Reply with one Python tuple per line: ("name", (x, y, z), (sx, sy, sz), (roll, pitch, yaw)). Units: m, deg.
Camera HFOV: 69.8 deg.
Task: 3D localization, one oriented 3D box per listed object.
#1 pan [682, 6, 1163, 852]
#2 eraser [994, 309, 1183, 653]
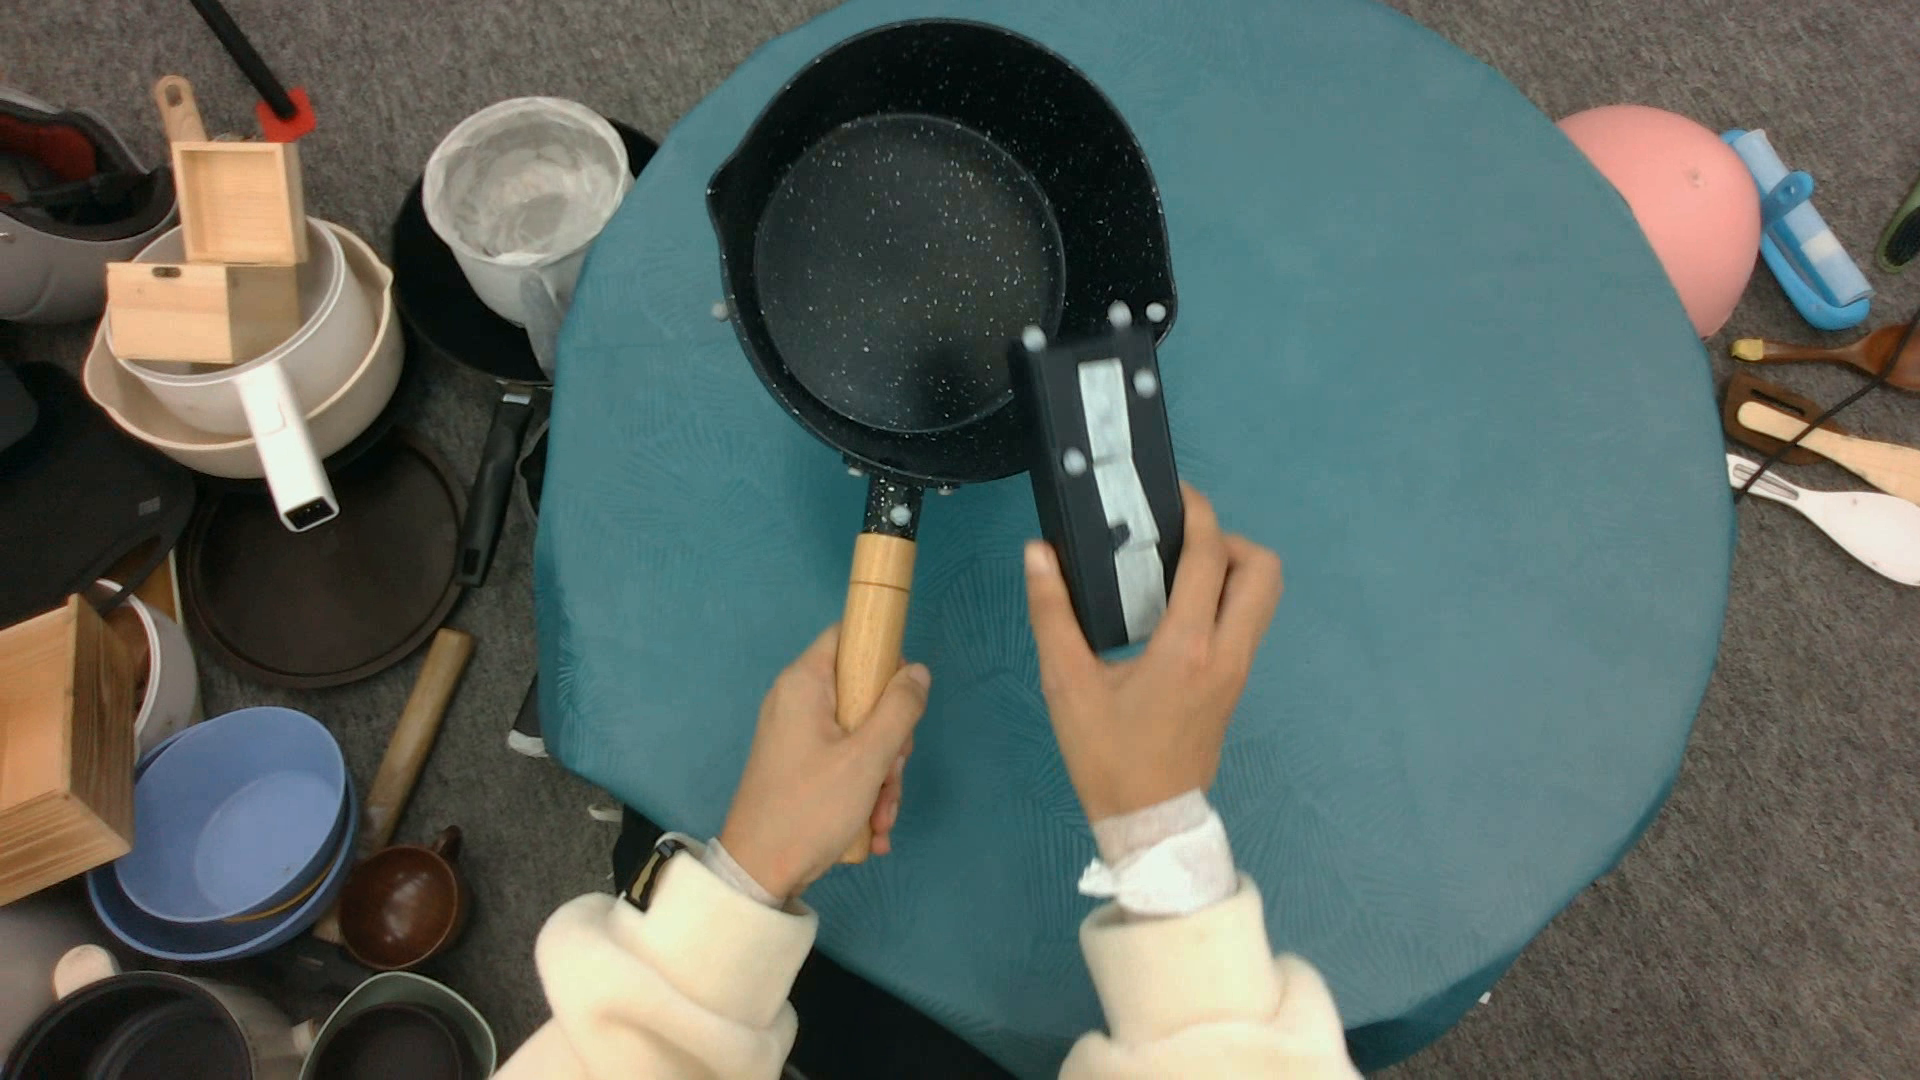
("pan", (-0.031, -0.045, 0.587), (0.207, 0.108, 0.342), (10, 90, -16))
("eraser", (0.049, -0.023, 0.529), (0.053, 0.030, 0.125), (-15, 105, -15))
